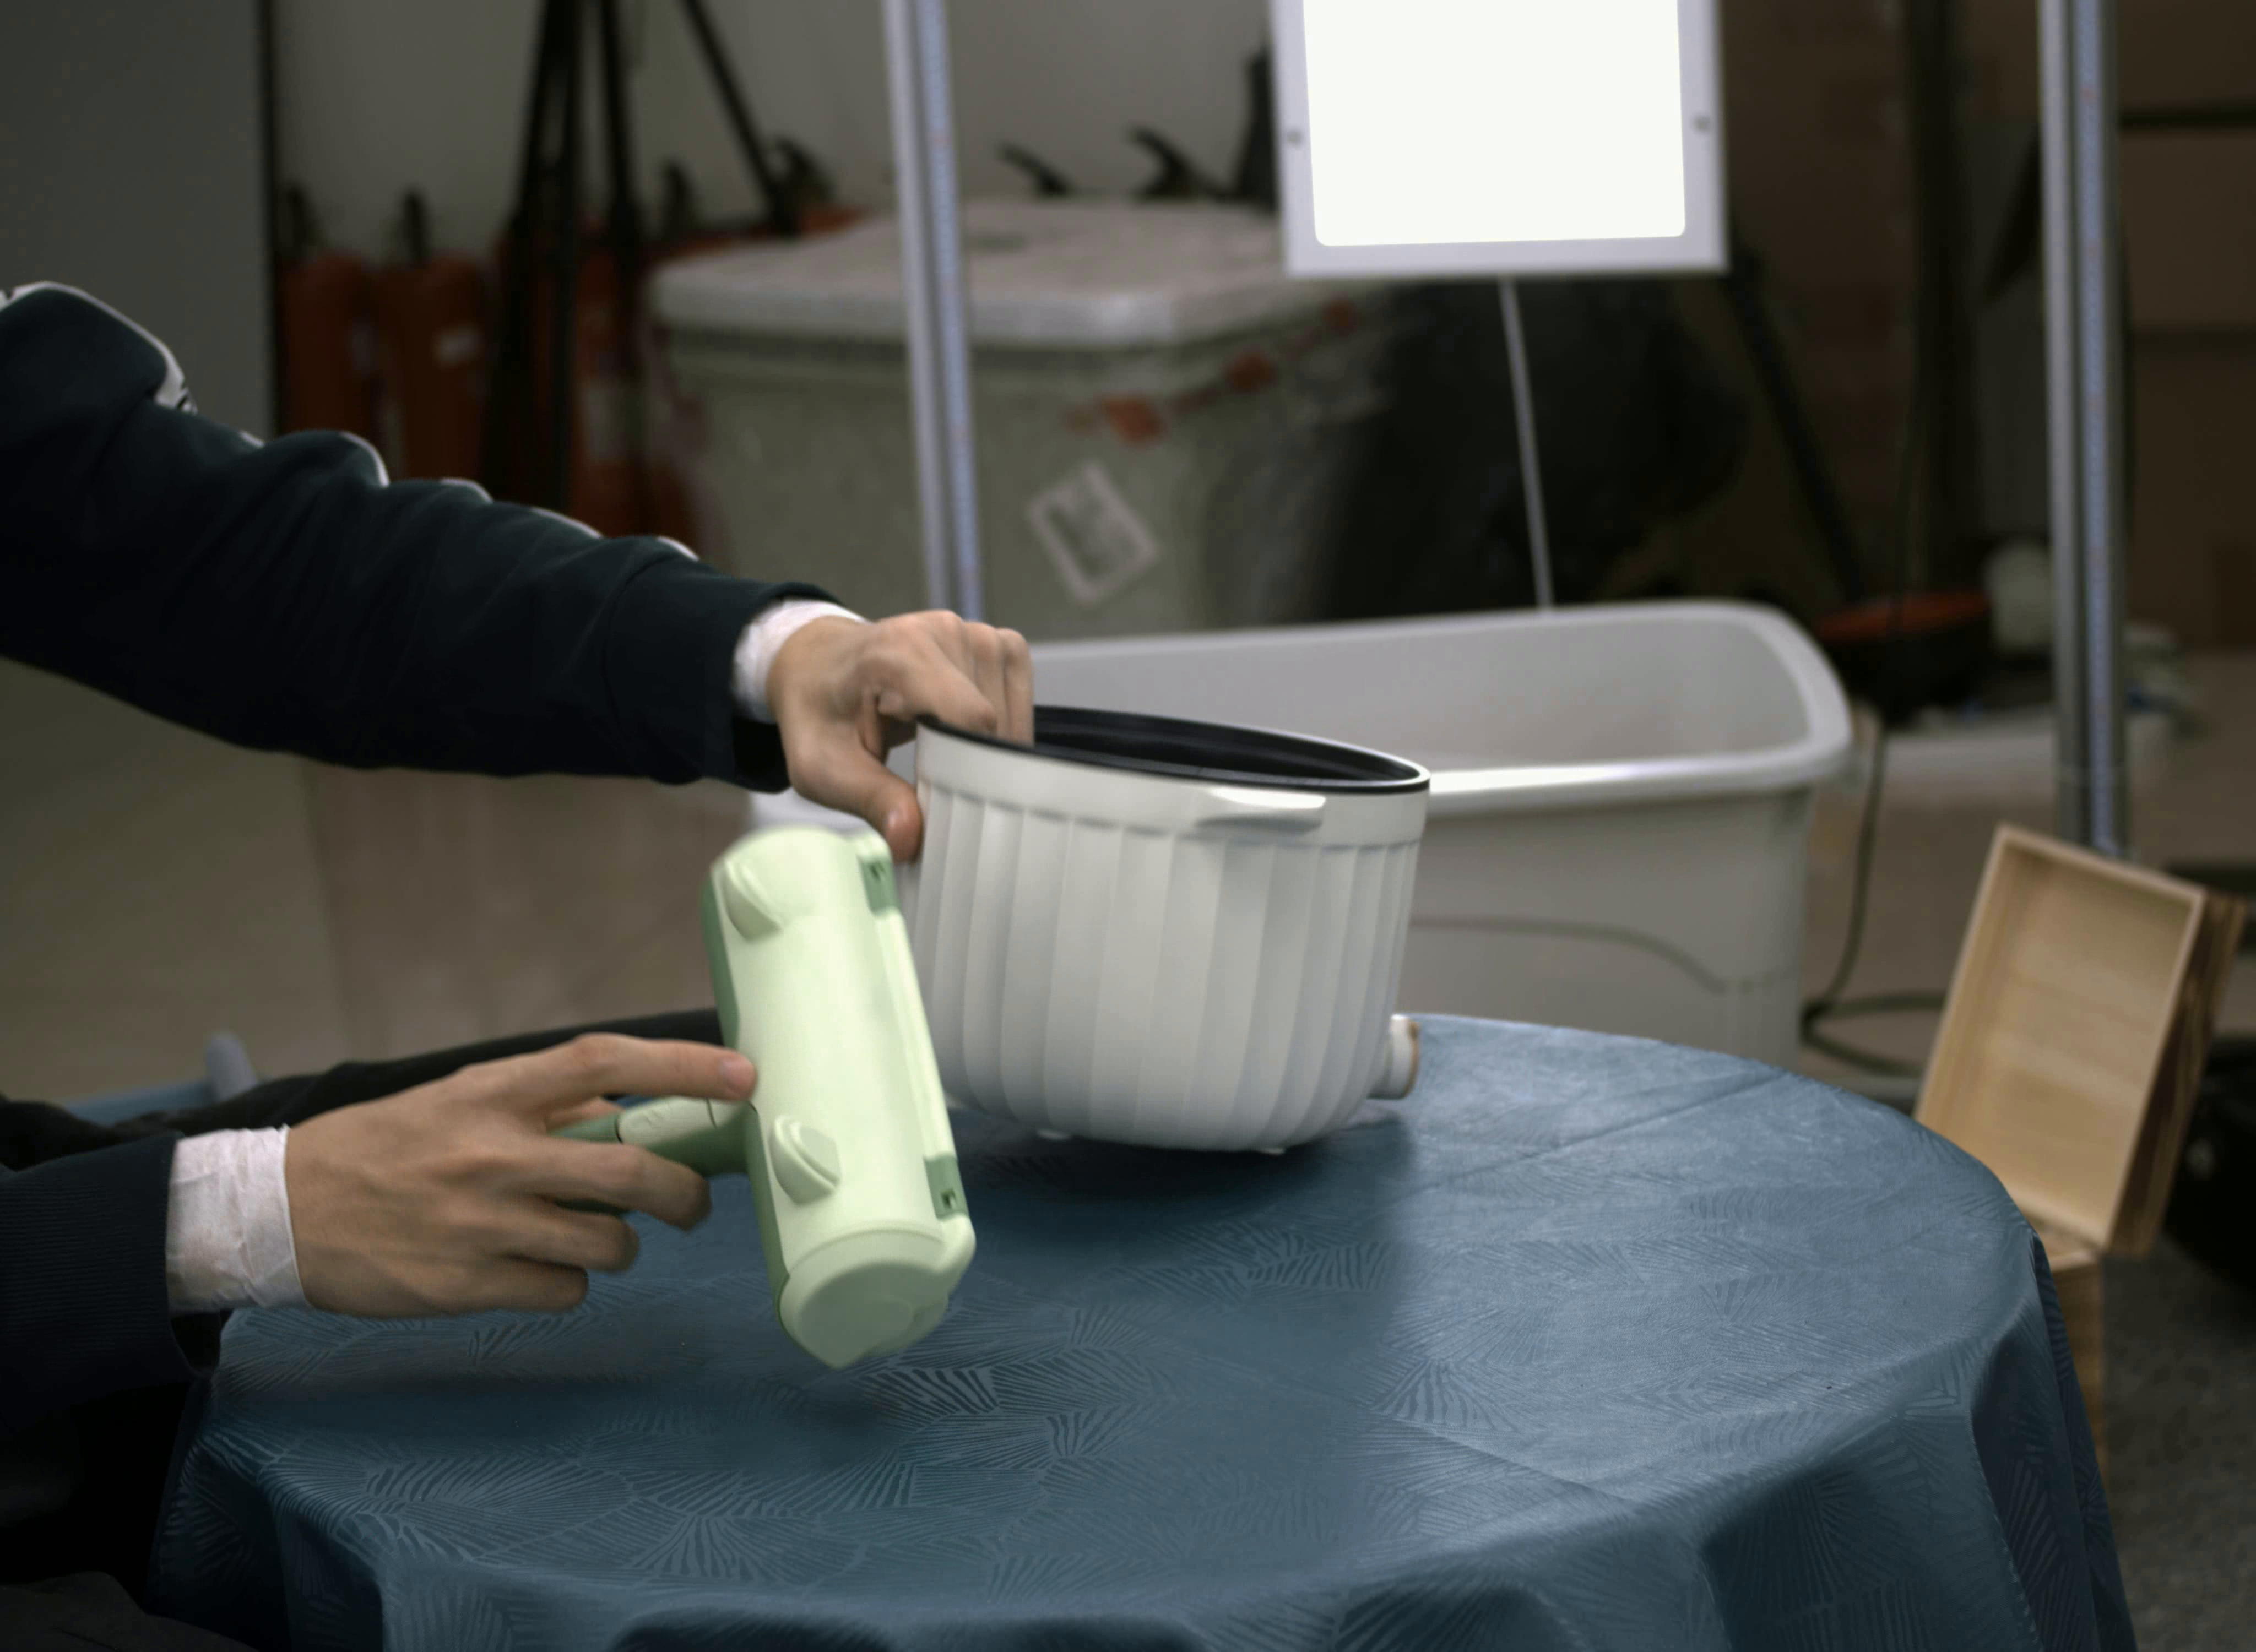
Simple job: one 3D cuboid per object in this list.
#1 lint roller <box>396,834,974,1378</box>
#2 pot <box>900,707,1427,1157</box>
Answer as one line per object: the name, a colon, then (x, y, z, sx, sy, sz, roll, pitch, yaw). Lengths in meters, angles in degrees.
lint roller: (-0.150, 0.093, 1.736, 0.183, 0.082, 0.199, -15, 44, 2)
pot: (0.014, 0.038, 1.927, 0.188, 0.143, 0.243, 0, 10, -16)
